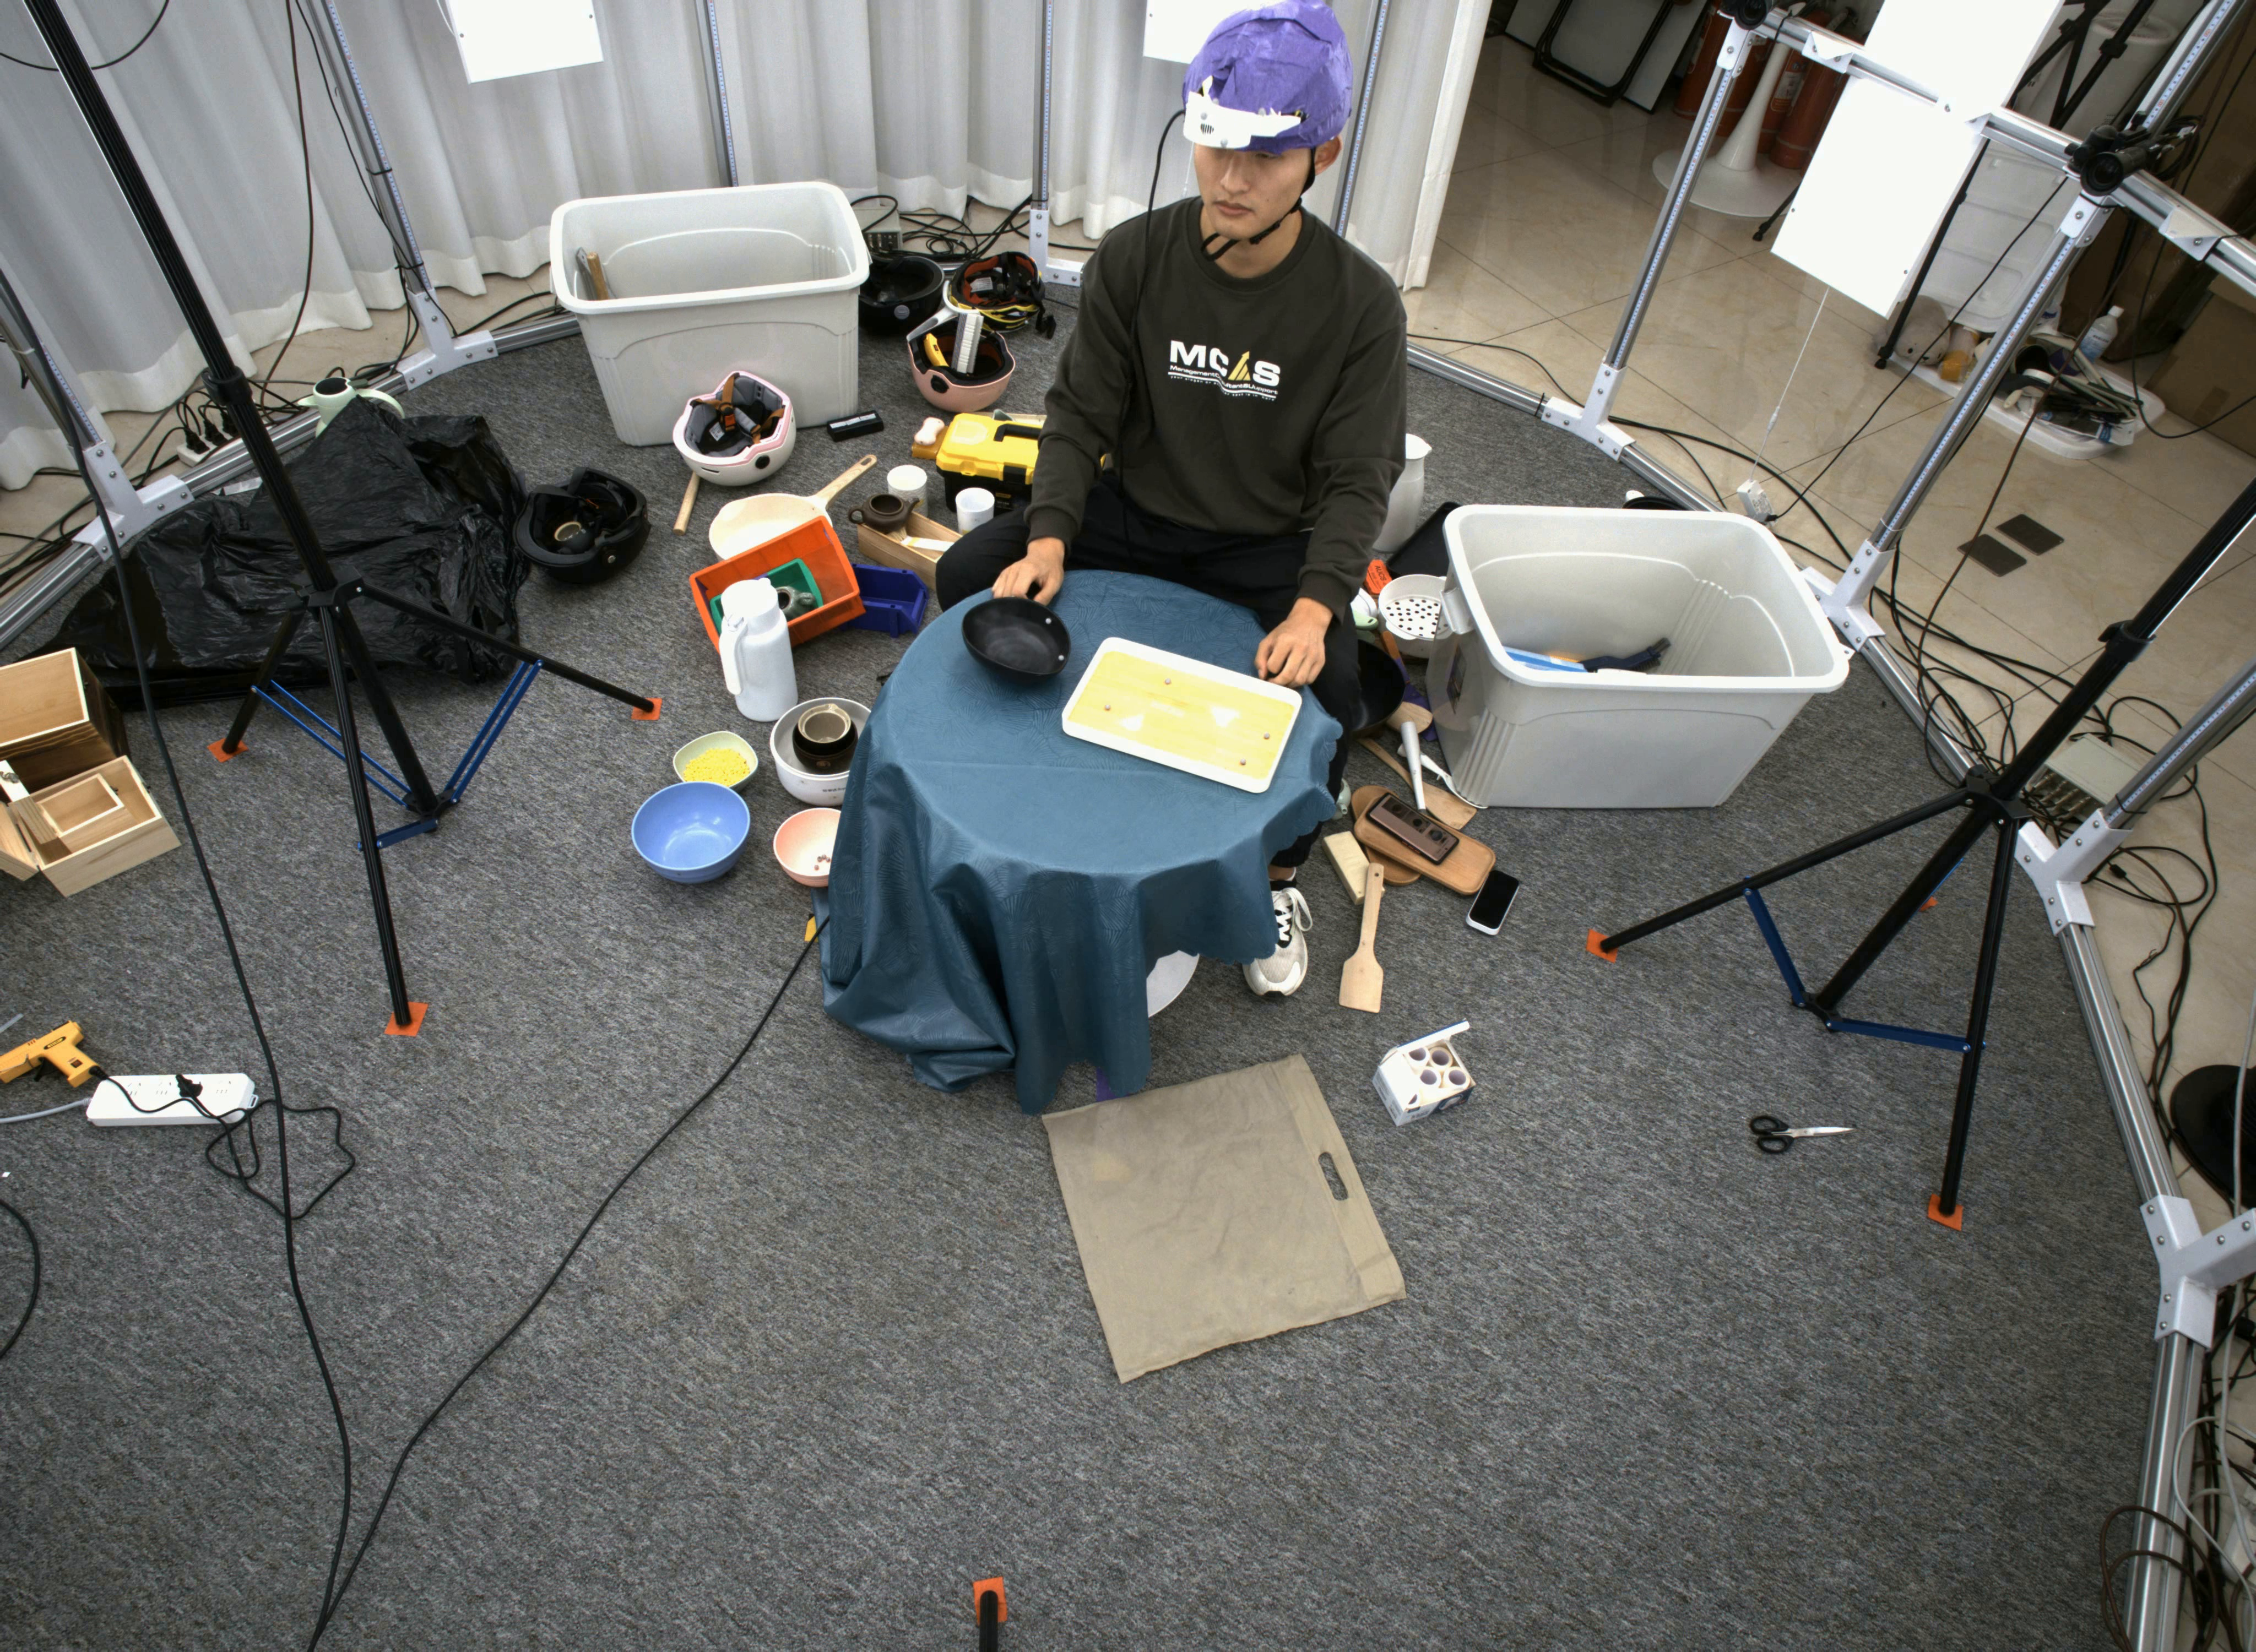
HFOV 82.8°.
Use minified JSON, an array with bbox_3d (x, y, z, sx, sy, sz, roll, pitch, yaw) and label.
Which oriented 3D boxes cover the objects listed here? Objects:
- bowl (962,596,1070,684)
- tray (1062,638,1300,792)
[{"bbox_3d":[-0.158,-0.254,1.834,0.172,0.065,0.139,35,56,21],"label":"bowl"},{"bbox_3d":[0.075,-0.159,1.791,0.301,0.027,0.195,18,50,11],"label":"tray"}]
